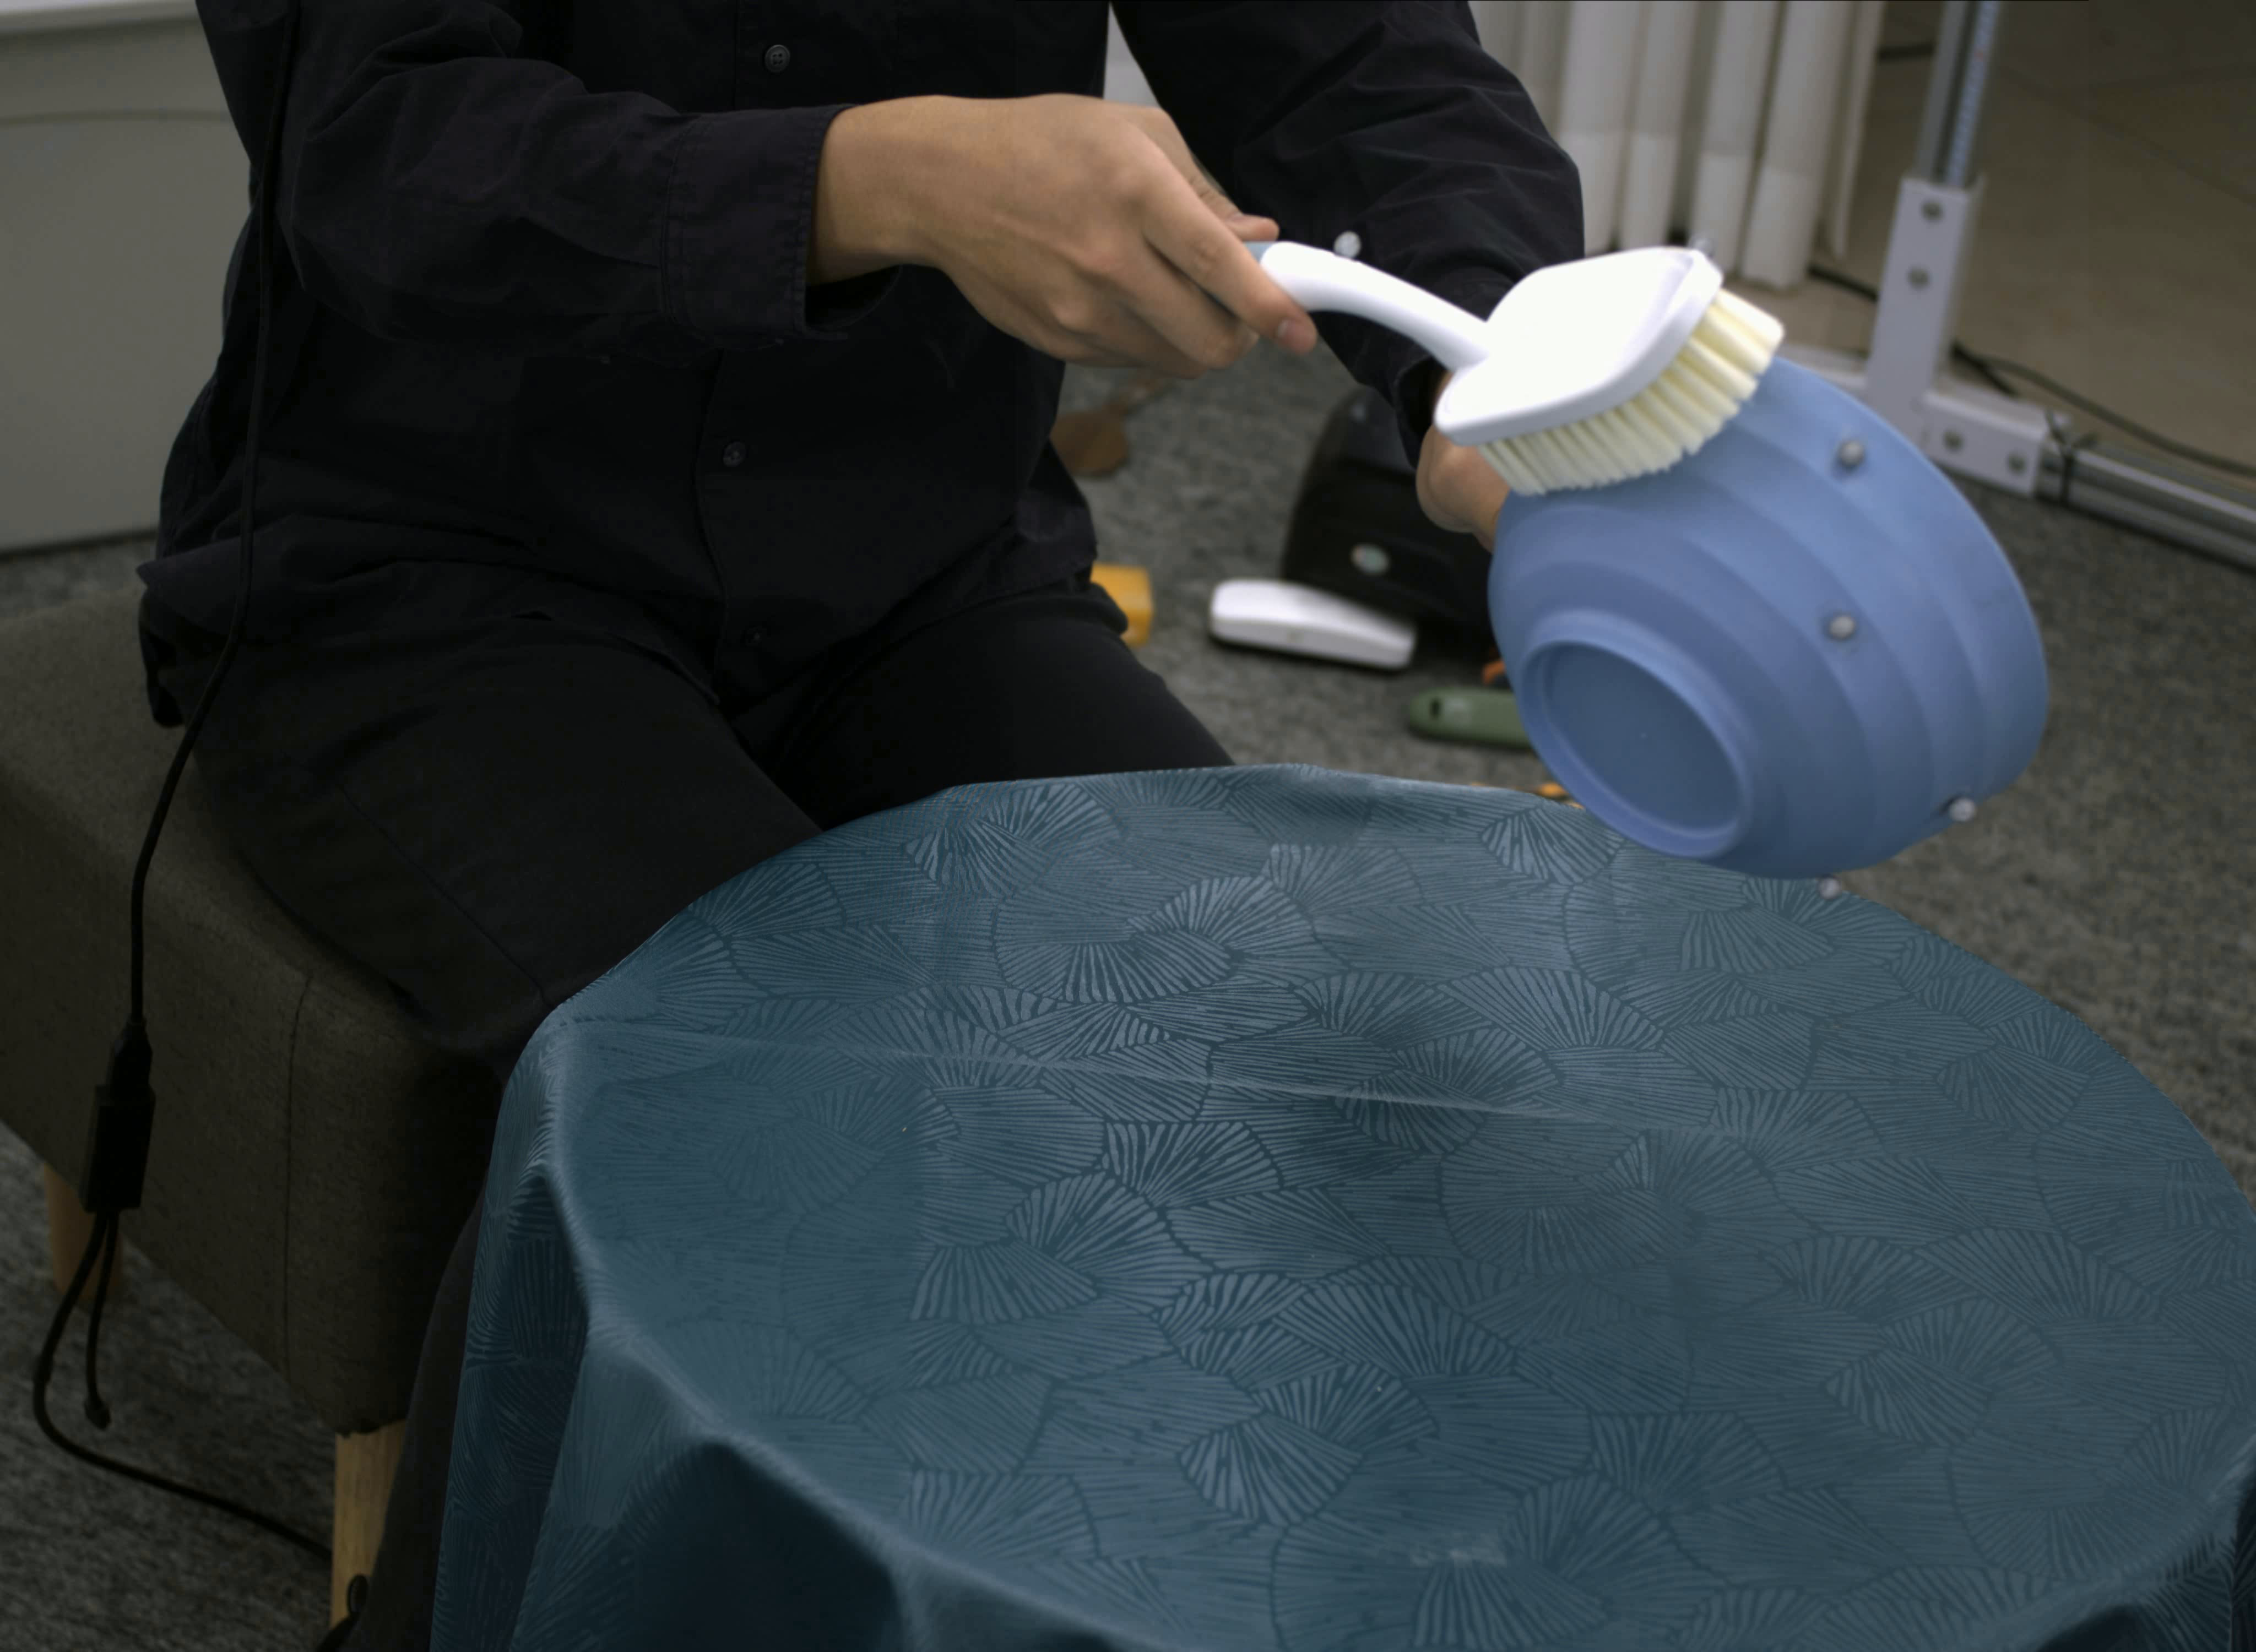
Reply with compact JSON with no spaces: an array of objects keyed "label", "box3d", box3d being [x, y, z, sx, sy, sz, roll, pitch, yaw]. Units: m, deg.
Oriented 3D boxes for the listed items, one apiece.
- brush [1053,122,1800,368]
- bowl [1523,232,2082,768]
[{"label":"brush","box3d":[0.102,-0.196,1.764,0.083,0.084,0.327,-23,19,-36]},{"label":"bowl","box3d":[0.202,-0.091,1.739,0.198,0.195,0.095,25,56,32]}]
